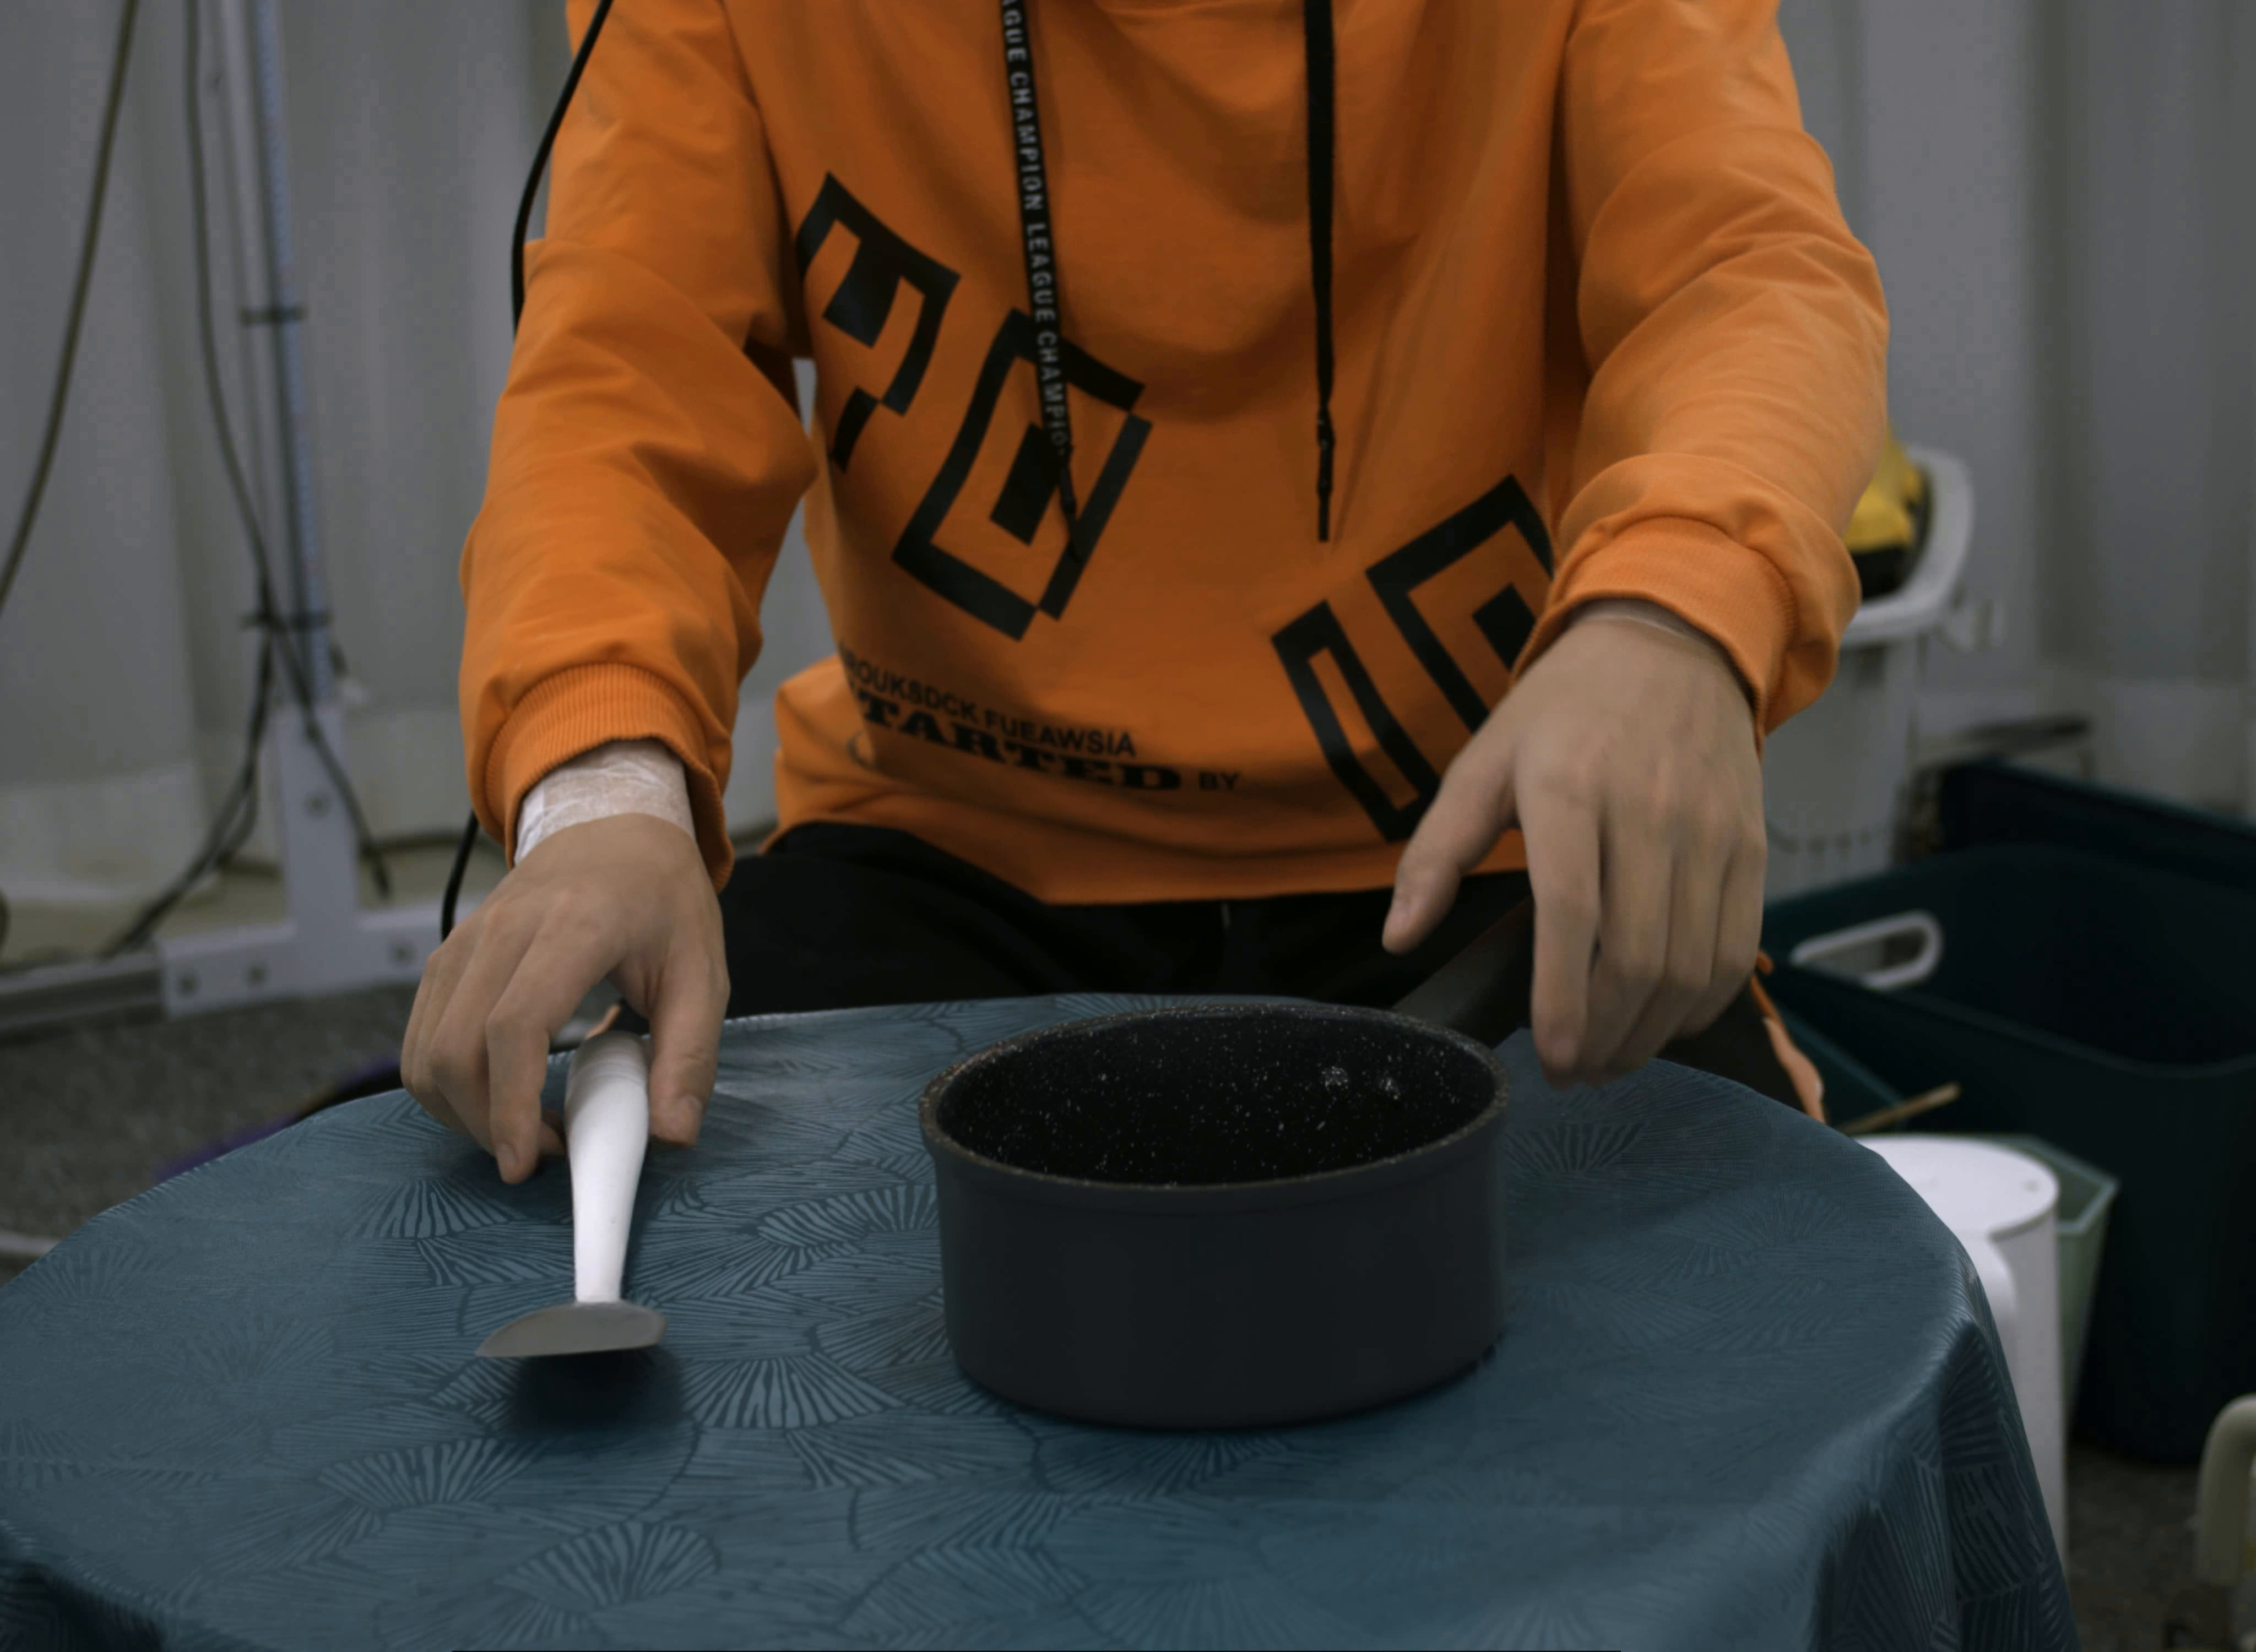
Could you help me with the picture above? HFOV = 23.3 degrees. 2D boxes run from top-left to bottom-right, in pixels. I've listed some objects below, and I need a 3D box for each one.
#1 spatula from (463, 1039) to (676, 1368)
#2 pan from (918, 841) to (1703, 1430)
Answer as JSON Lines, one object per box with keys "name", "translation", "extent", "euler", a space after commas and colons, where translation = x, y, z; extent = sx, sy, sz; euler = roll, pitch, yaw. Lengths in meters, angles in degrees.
{"name": "spatula", "translation": [-0.163, 0.121, 1.664], "extent": [0.058, 0.032, 0.289], "euler": [-1, 14, -2]}
{"name": "pan", "translation": [0.074, 0.089, 1.634], "extent": [0.172, 0.086, 0.329], "euler": [9, 21, 36]}
